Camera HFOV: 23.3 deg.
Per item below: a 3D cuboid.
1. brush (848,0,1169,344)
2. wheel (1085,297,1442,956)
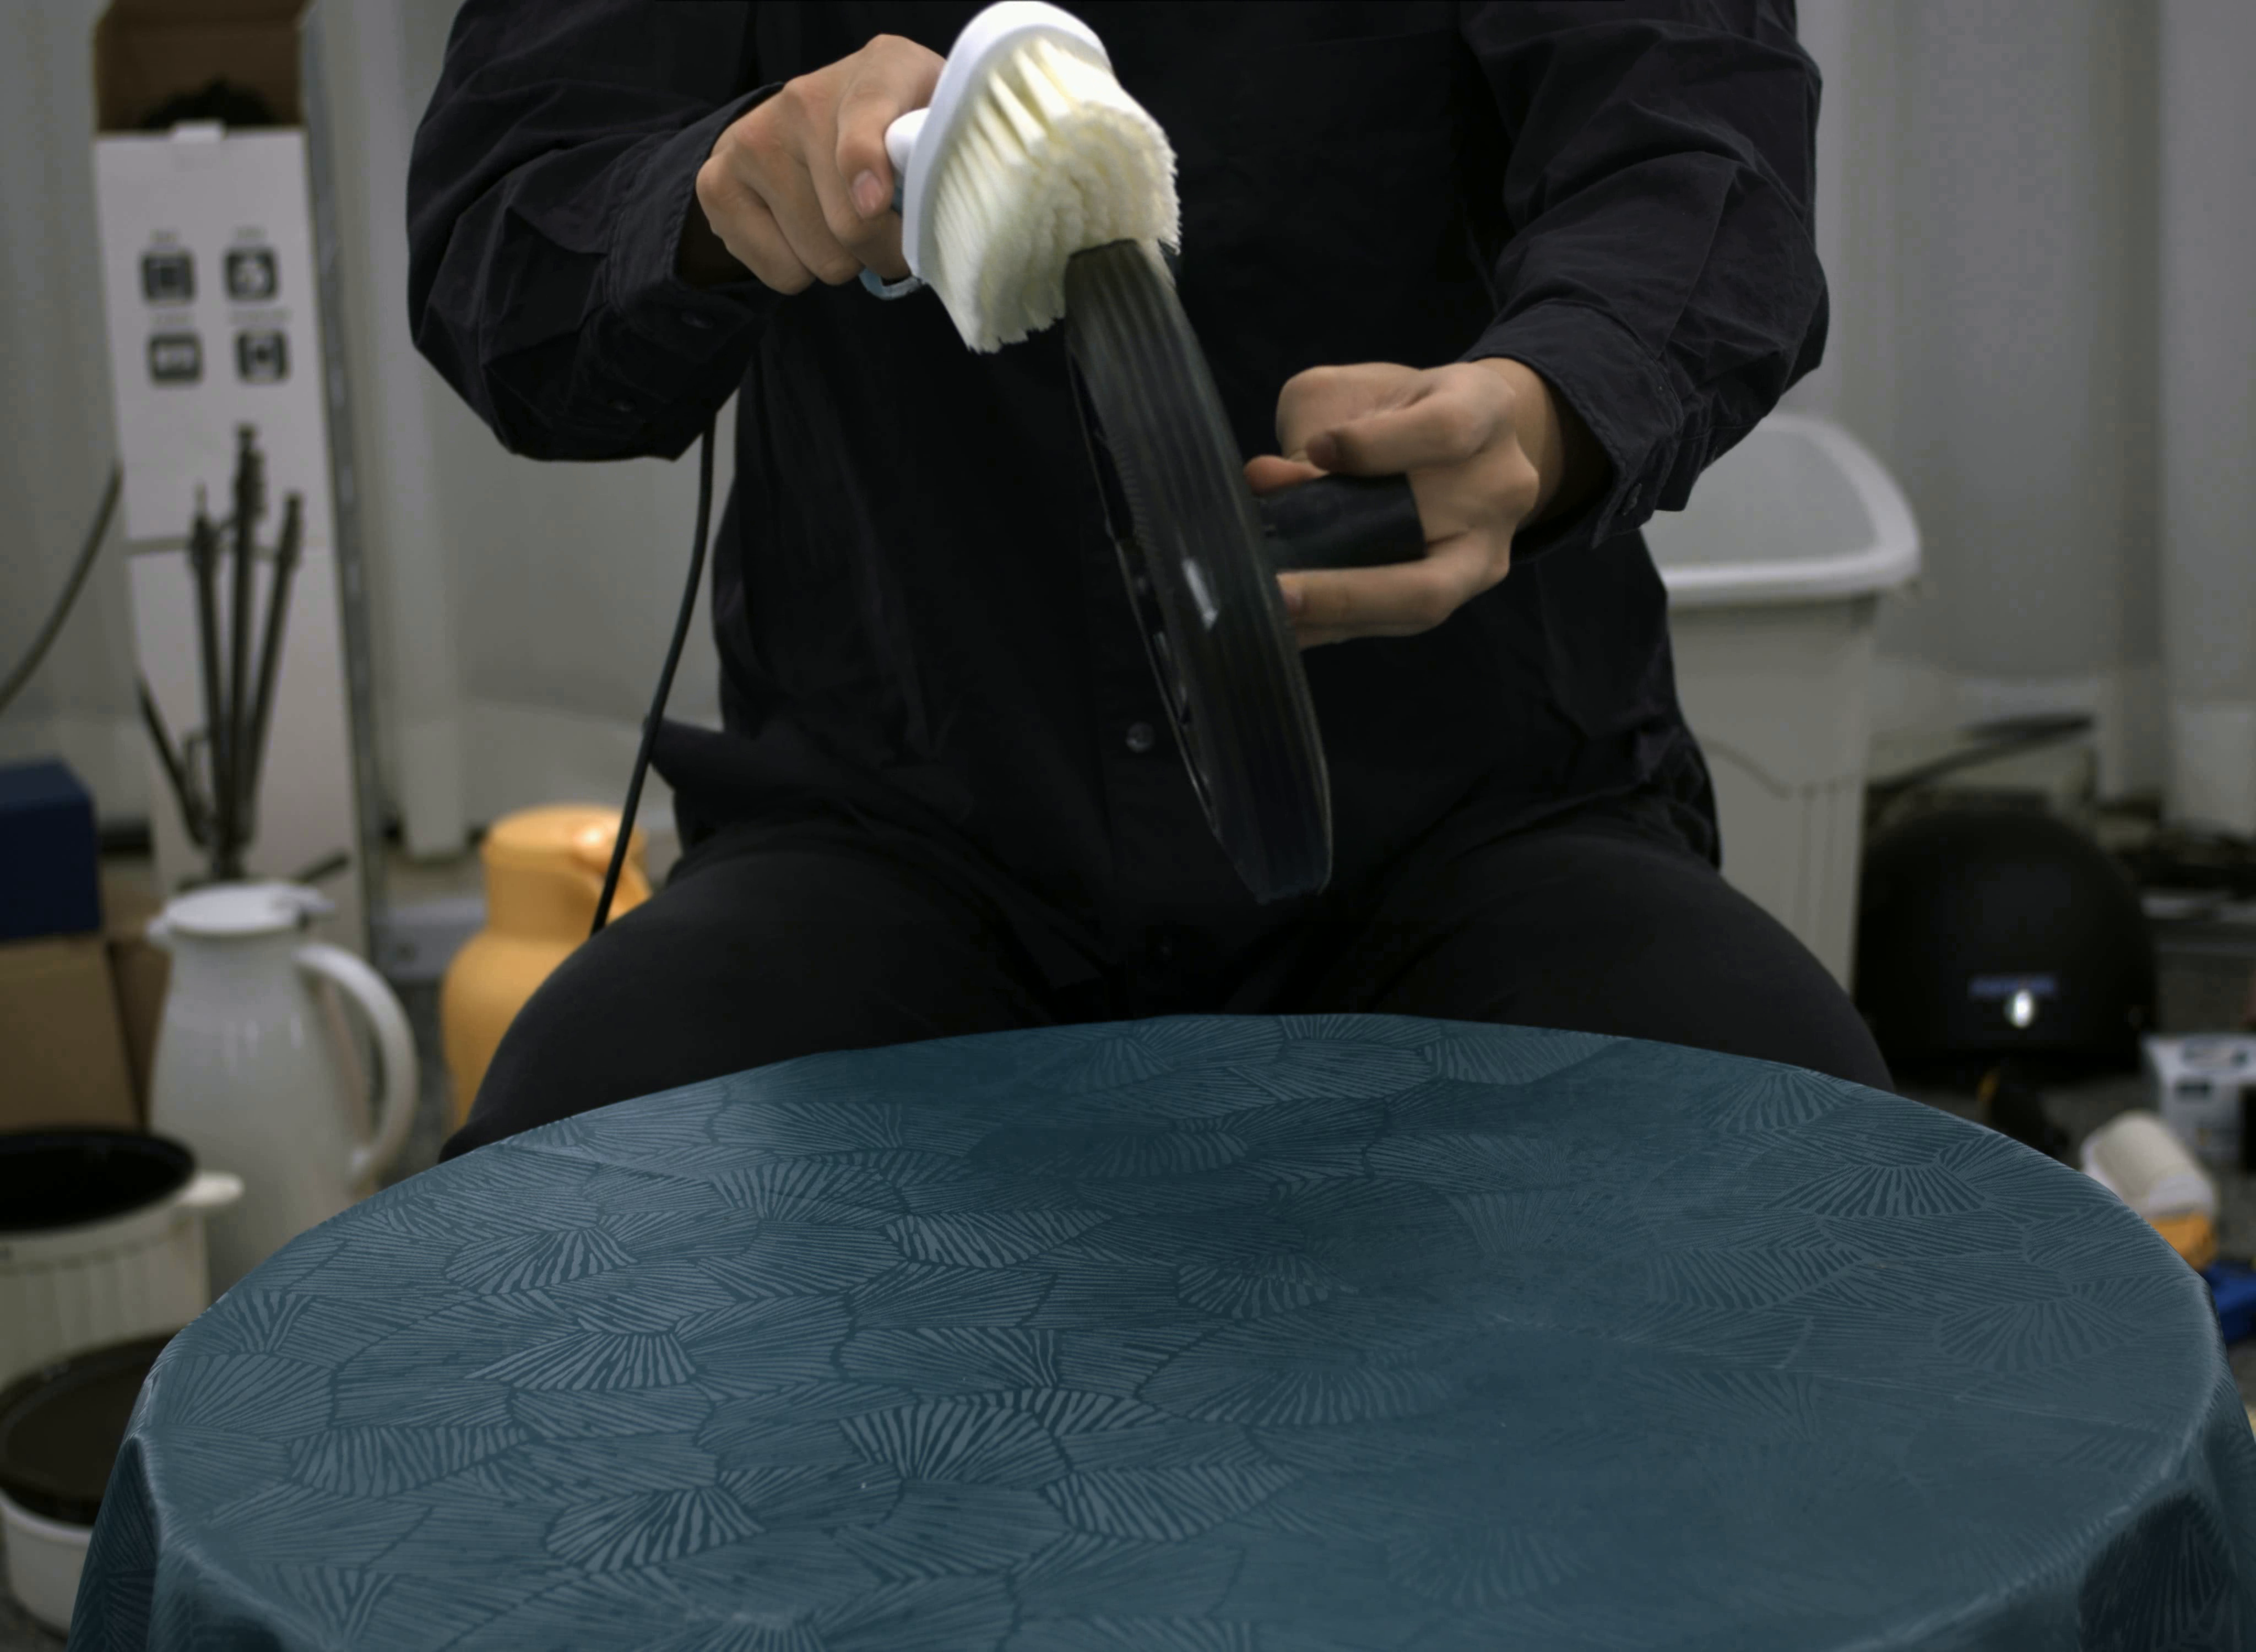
[{"bbox_3d":[-0.035,-0.172,1.619,0.083,0.085,0.325,8,-7,-7],"label":"brush"},{"bbox_3d":[0.045,-0.062,1.531,0.079,0.185,0.192,-18,36,-3],"label":"wheel"}]
